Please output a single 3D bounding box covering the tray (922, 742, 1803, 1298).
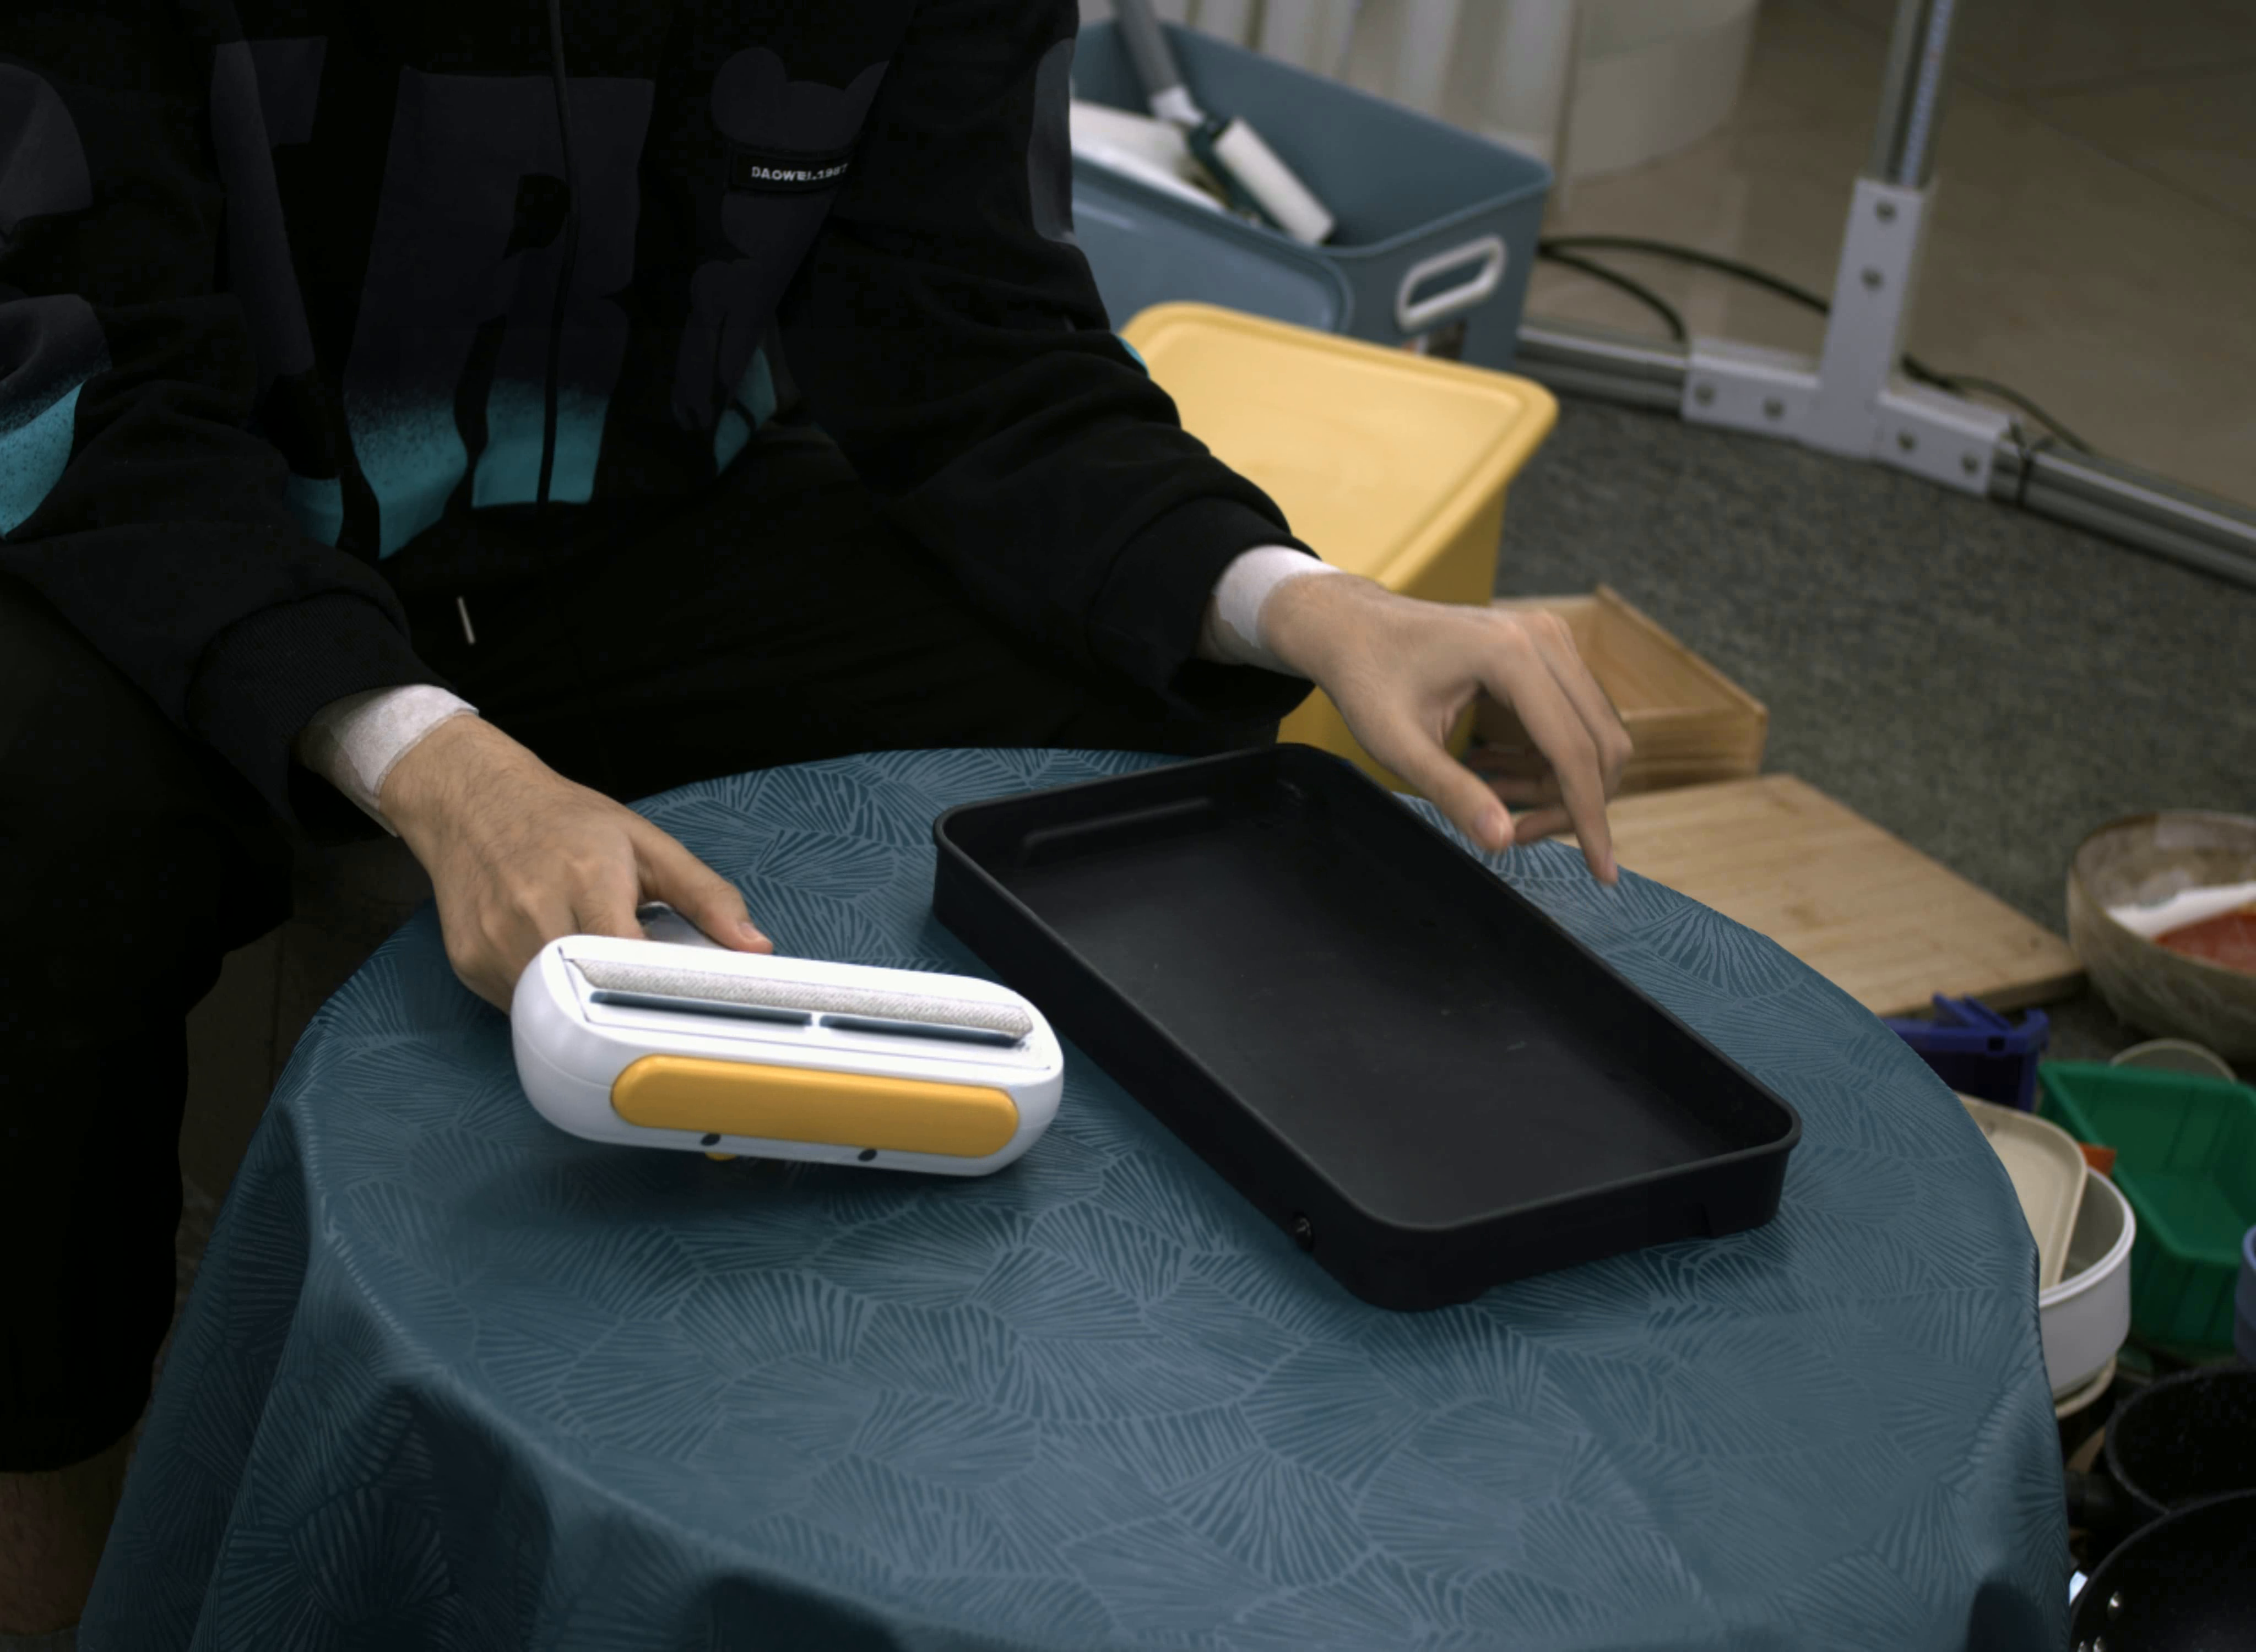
[{"bbox_3d":[0.077,0.063,1.895,0.183,0.037,0.321,-12,32,-31],"label":"tray"}]

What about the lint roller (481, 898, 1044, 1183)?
[{"bbox_3d":[-0.139,0.058,1.823,0.191,0.074,0.194,5,24,-21],"label":"lint roller"}]
